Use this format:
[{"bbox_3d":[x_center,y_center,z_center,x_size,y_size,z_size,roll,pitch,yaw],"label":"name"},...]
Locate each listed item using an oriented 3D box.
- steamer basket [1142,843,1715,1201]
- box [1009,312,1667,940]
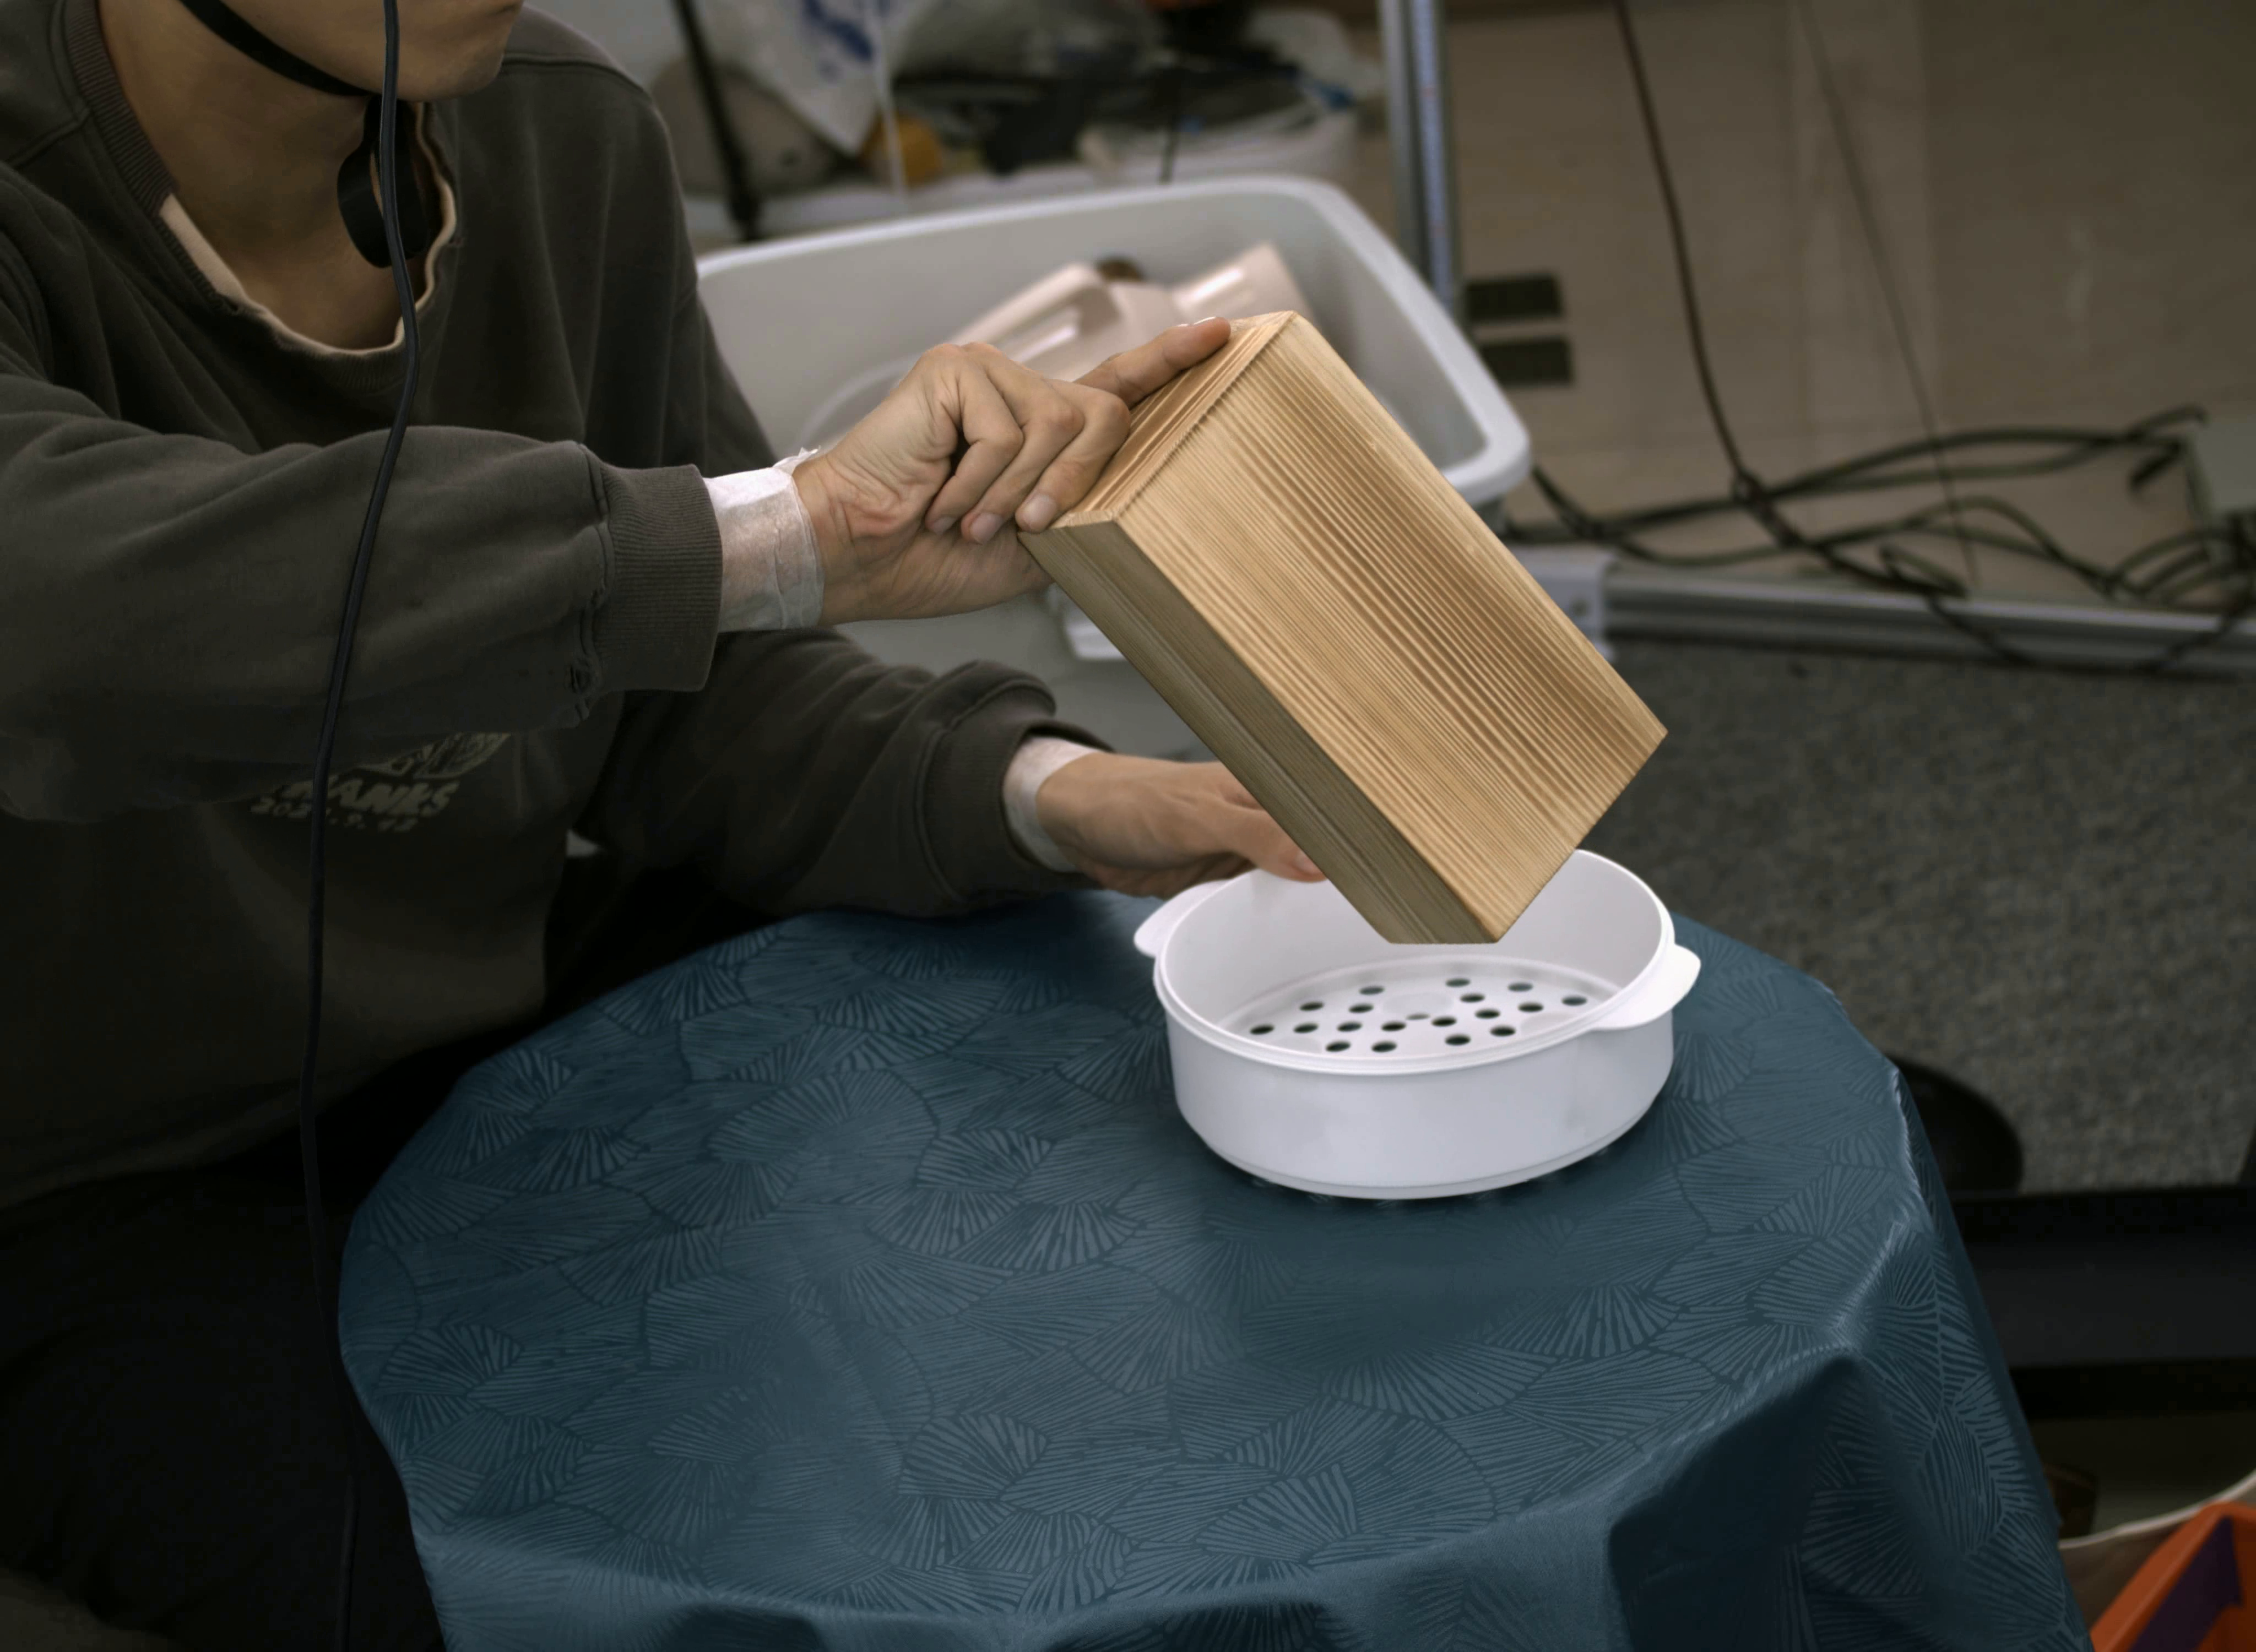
[{"bbox_3d":[0.116,0.074,2.176,0.229,0.070,0.199,8,28,31],"label":"steamer basket"},{"bbox_3d":[0.076,-0.069,2.010,0.106,0.213,0.080,-51,21,-18],"label":"box"}]
